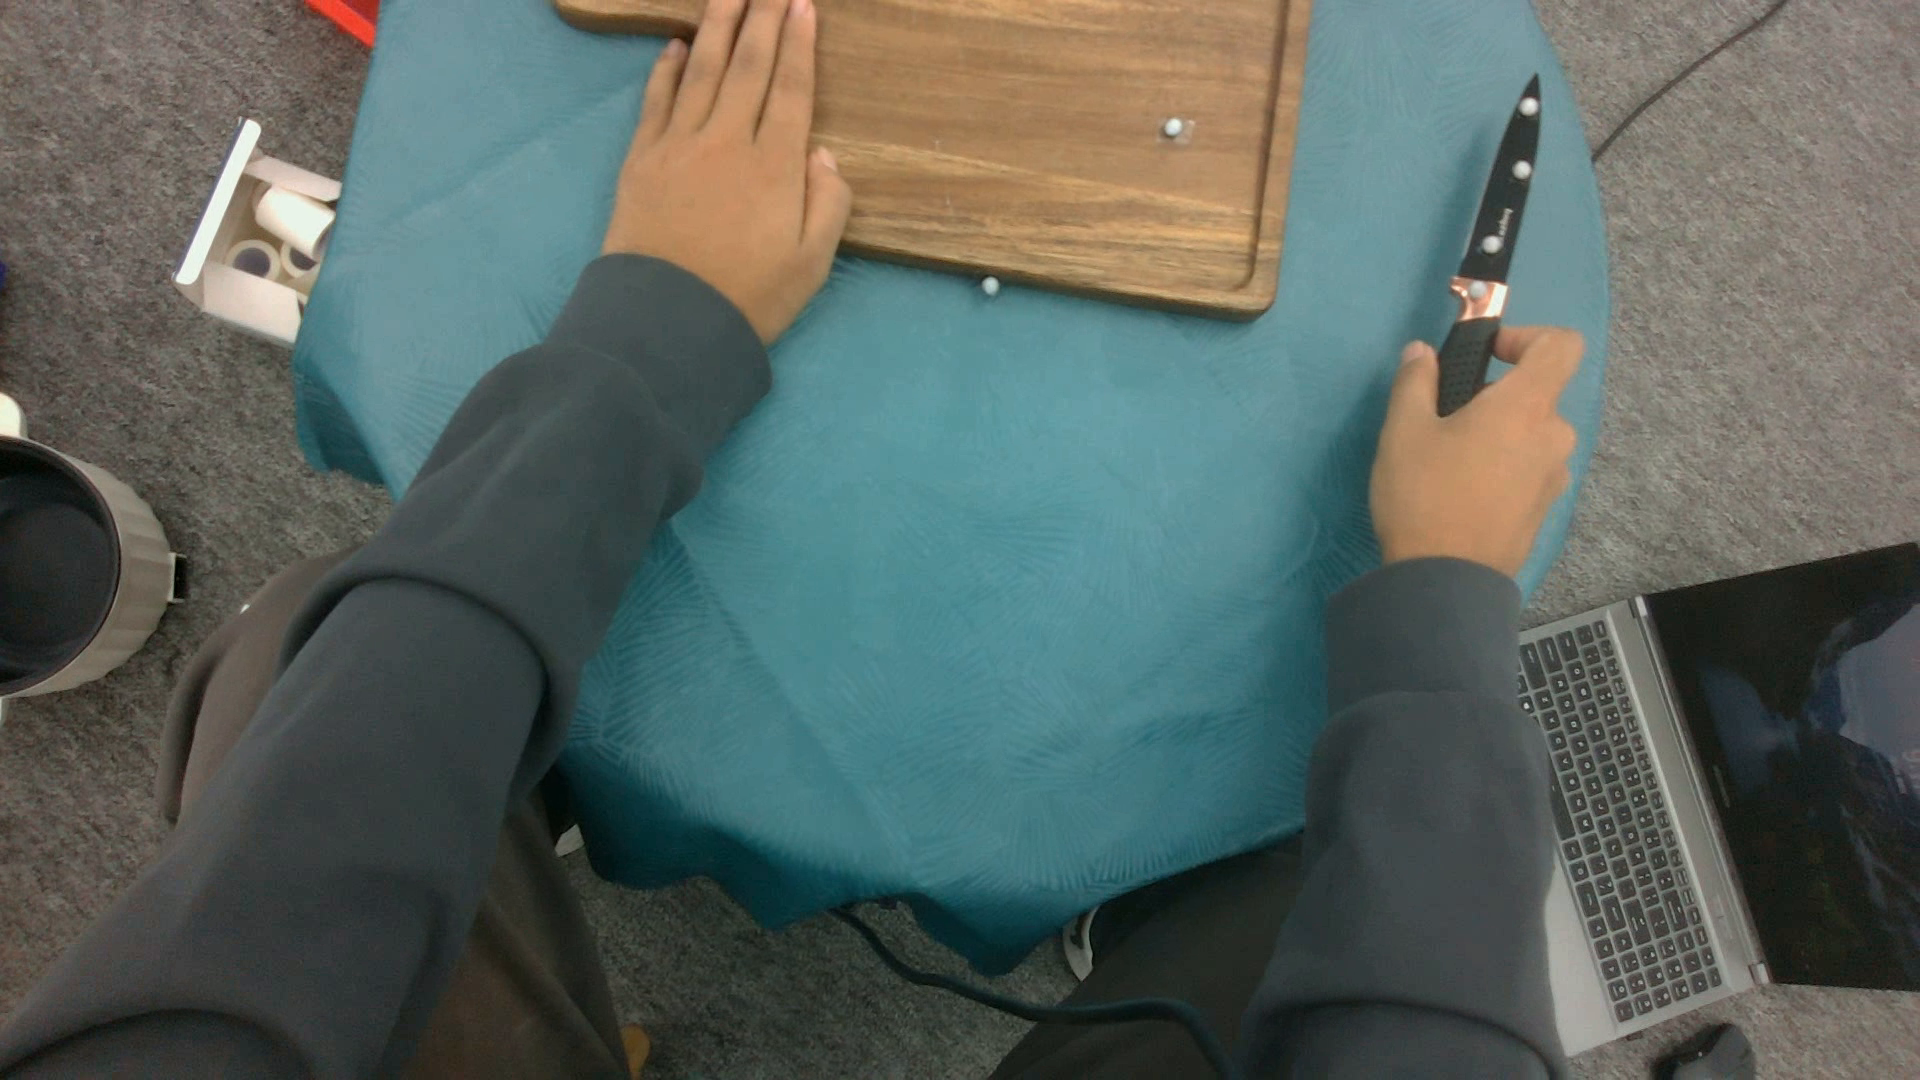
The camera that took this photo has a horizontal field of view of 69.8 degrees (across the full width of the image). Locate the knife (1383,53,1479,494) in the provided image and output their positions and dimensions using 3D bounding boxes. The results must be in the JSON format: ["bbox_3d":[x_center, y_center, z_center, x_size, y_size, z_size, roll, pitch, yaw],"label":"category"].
[{"bbox_3d":[0.230,-0.131,0.659,0.026,0.017,0.226,10,80,15],"label":"knife"}]

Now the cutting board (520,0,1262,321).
[{"bbox_3d":[-0.027,-0.216,0.655,0.352,0.023,0.201,5,82,-7],"label":"cutting board"}]
